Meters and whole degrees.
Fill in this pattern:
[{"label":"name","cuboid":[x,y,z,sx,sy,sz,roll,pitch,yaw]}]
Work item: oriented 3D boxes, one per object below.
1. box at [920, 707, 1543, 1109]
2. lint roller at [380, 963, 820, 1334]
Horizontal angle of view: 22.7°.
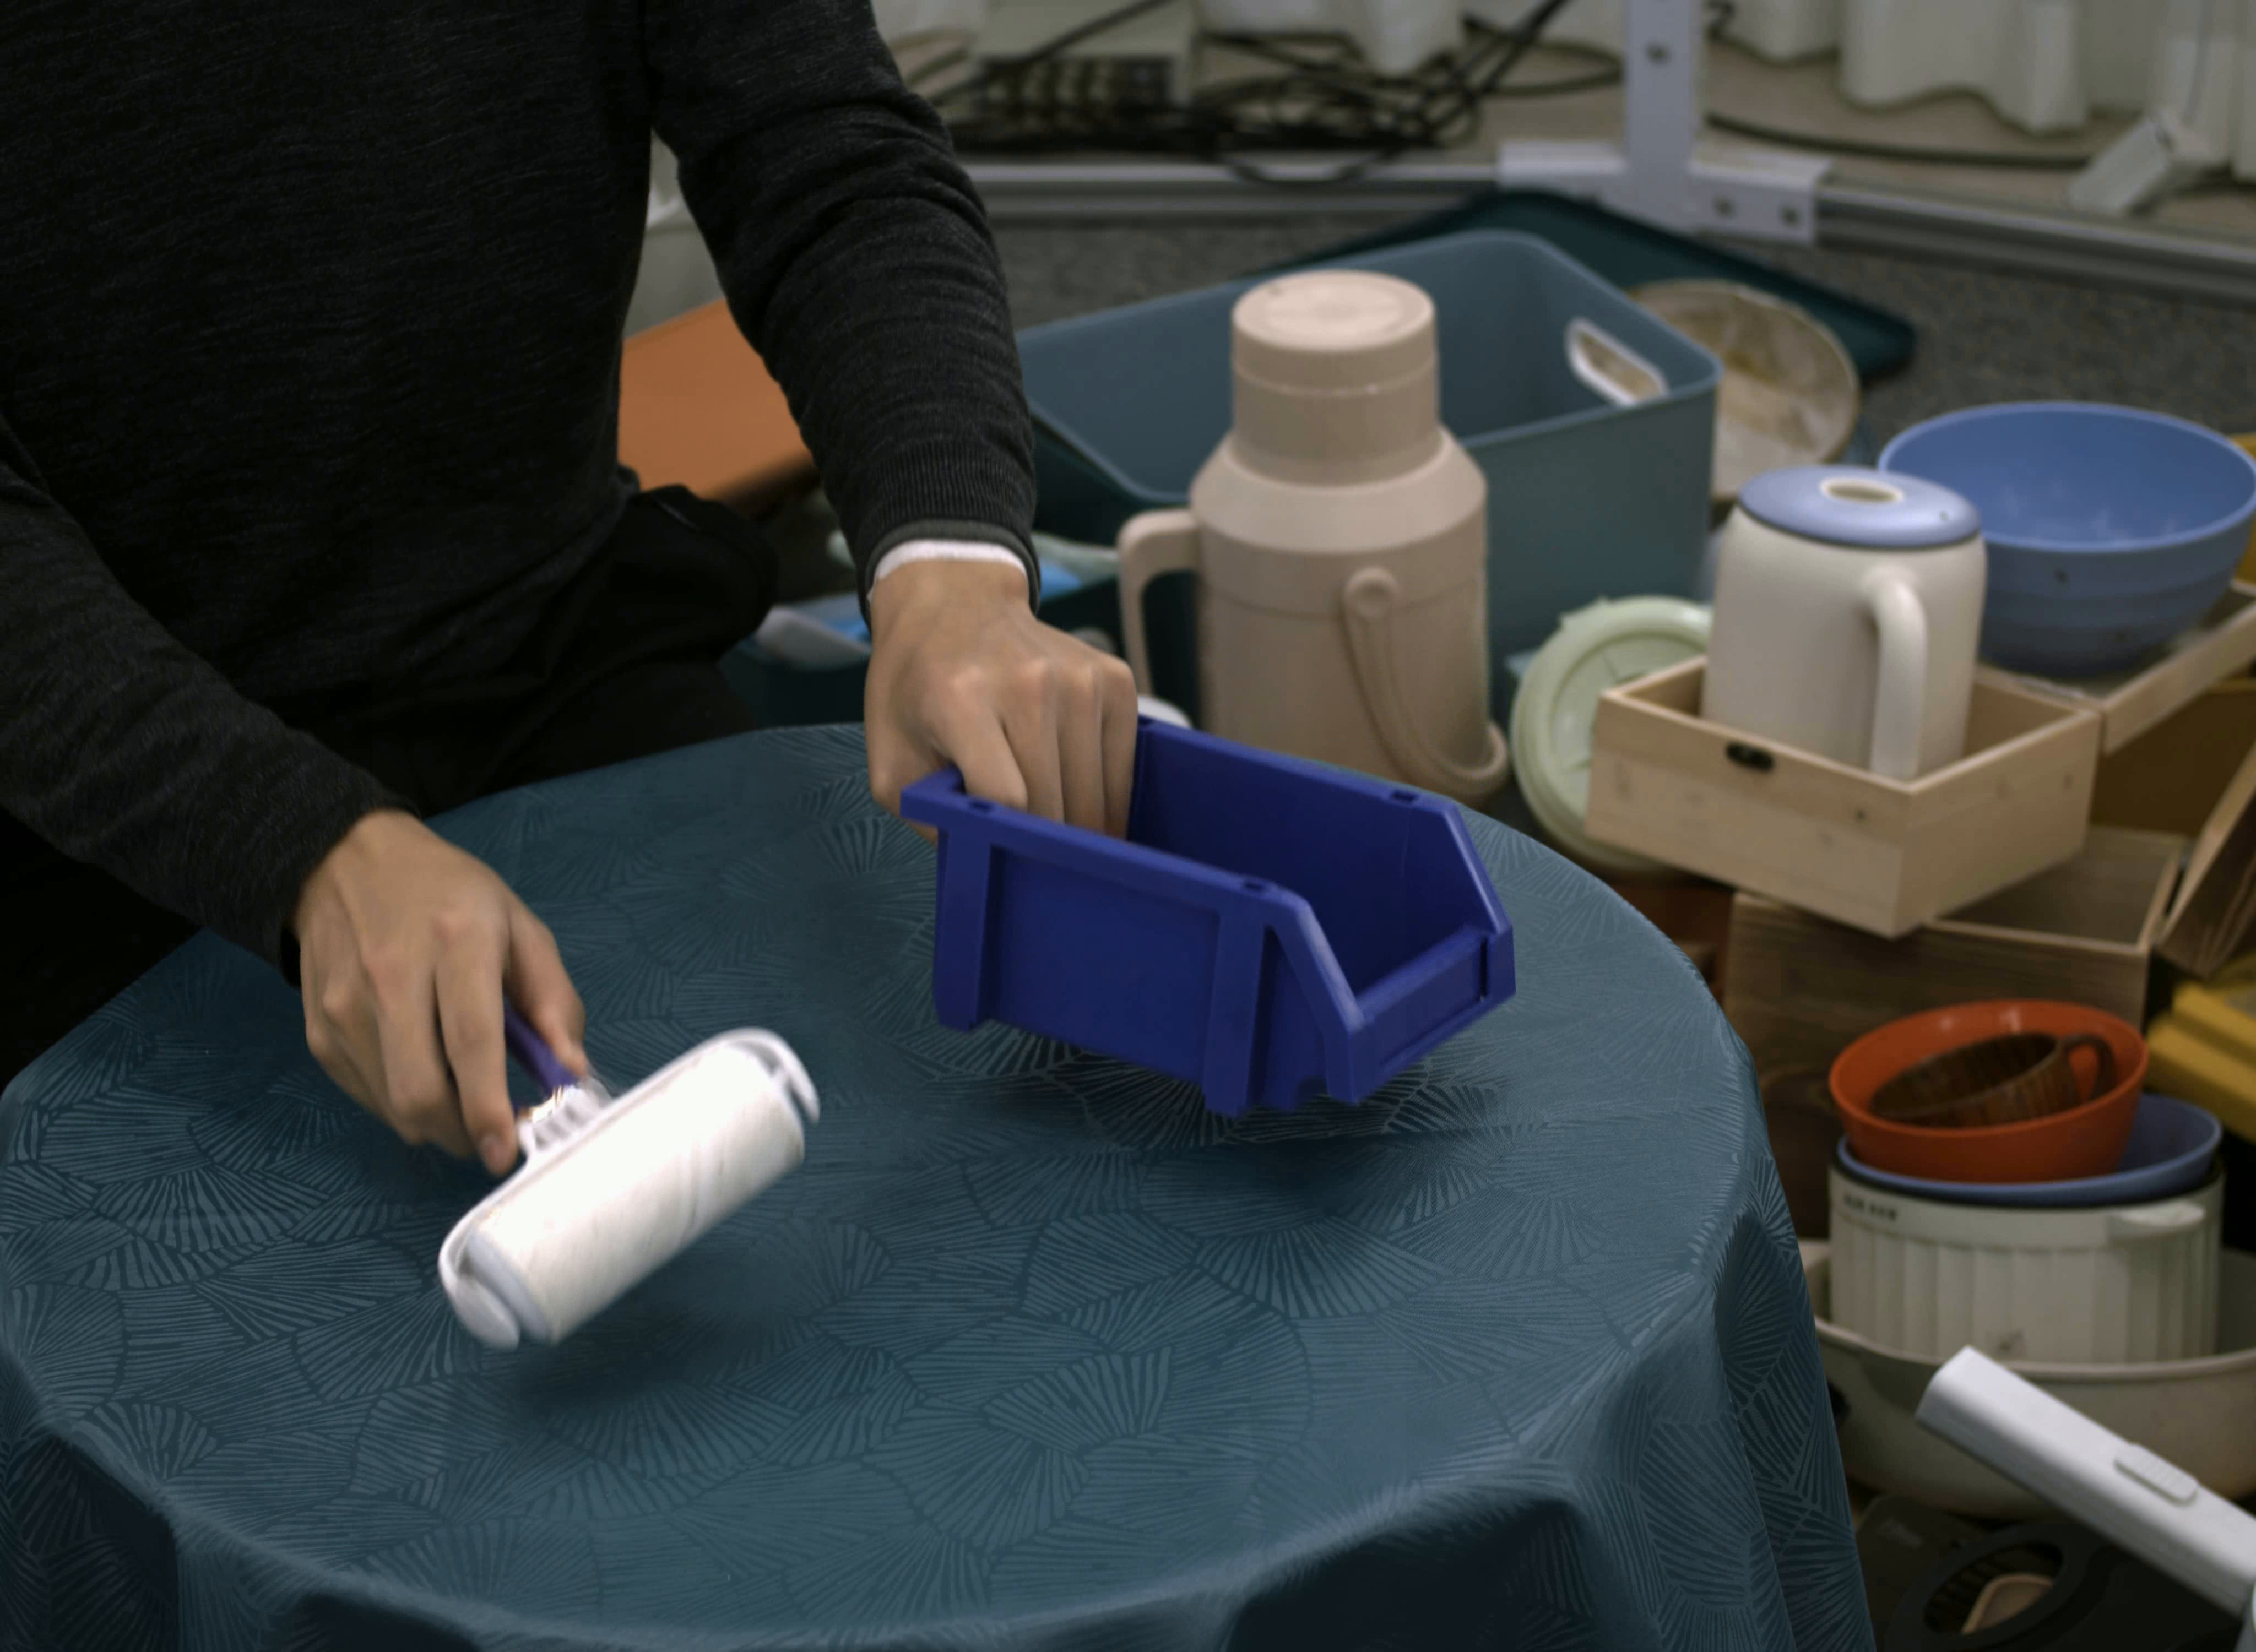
[{"label":"box","cuboid":[0.036,0.029,1.892,0.178,0.081,0.126,14,21,28]},{"label":"lint roller","cuboid":[-0.192,0.080,1.810,0.134,0.049,0.182,-35,47,-17]}]
